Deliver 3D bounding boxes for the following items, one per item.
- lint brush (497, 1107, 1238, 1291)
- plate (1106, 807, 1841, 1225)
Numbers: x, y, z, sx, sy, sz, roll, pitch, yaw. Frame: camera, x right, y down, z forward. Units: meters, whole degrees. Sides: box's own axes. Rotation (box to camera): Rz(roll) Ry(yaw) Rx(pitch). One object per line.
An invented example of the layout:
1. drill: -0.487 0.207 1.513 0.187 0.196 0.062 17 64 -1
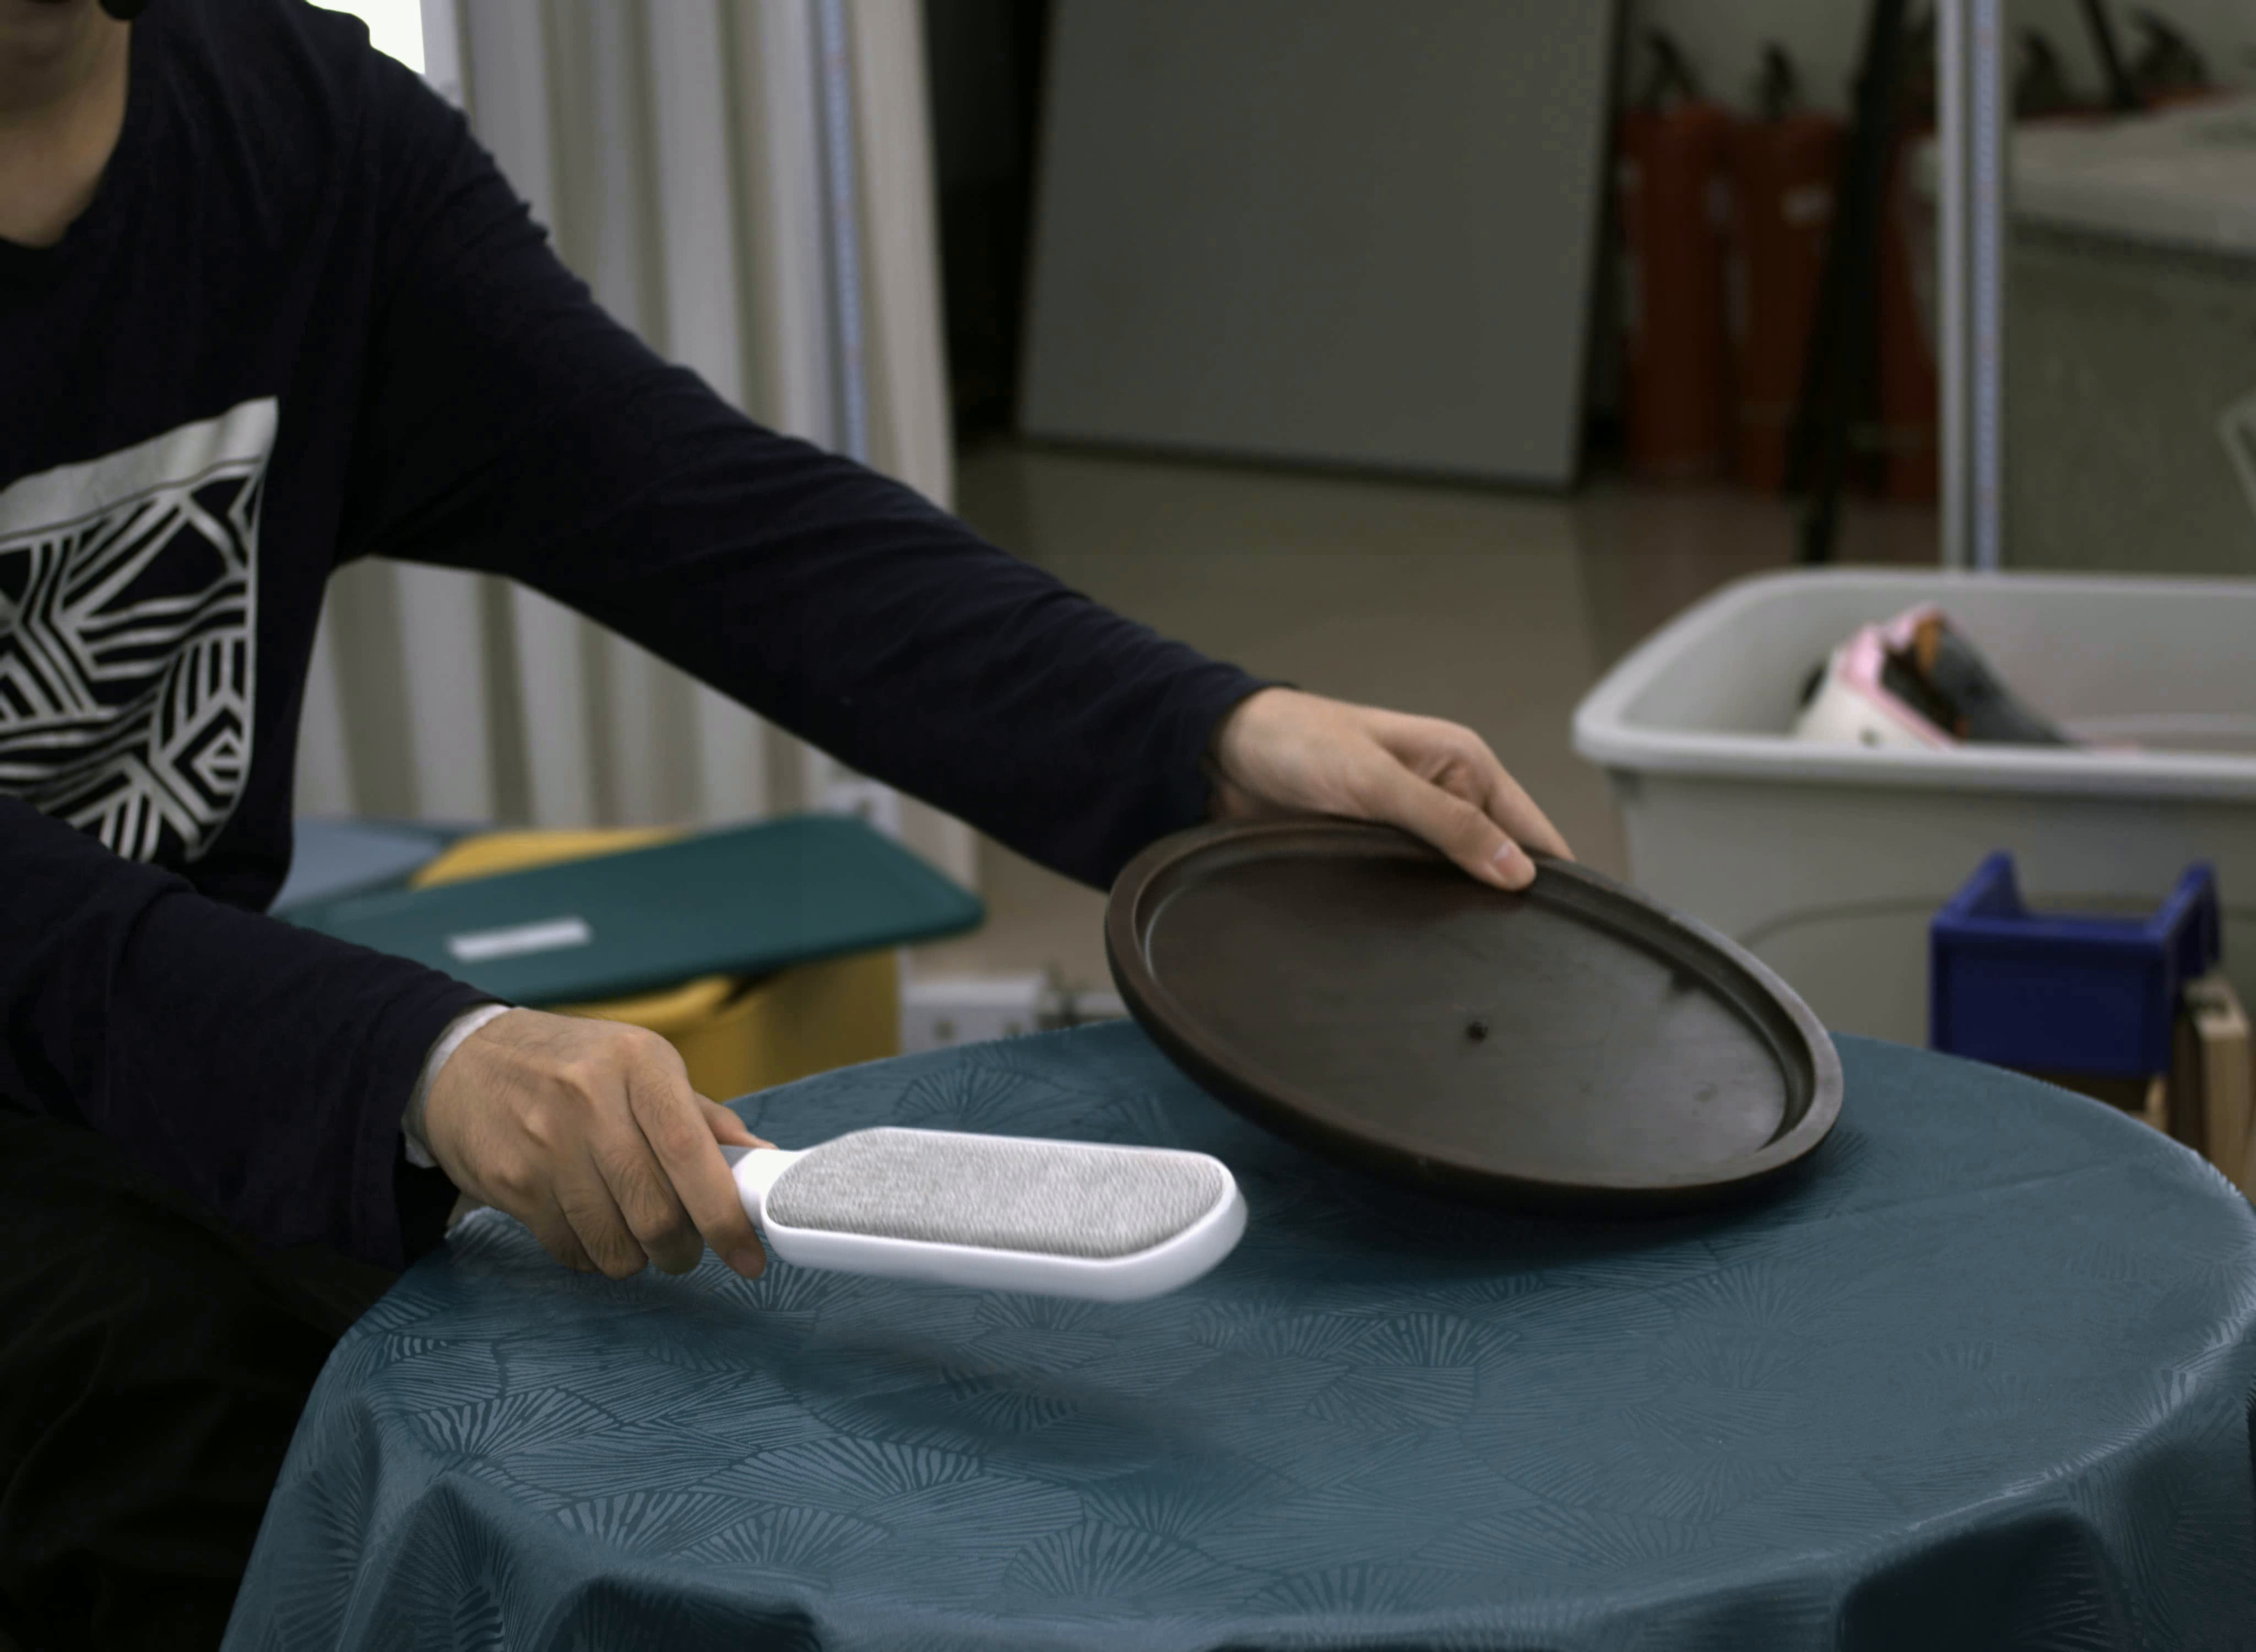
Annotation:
1. lint brush: -0.086 0.108 1.636 0.311 0.021 0.059 1 39 44
2. plate: 0.113 0.061 1.776 0.251 0.029 0.256 13 23 -7
